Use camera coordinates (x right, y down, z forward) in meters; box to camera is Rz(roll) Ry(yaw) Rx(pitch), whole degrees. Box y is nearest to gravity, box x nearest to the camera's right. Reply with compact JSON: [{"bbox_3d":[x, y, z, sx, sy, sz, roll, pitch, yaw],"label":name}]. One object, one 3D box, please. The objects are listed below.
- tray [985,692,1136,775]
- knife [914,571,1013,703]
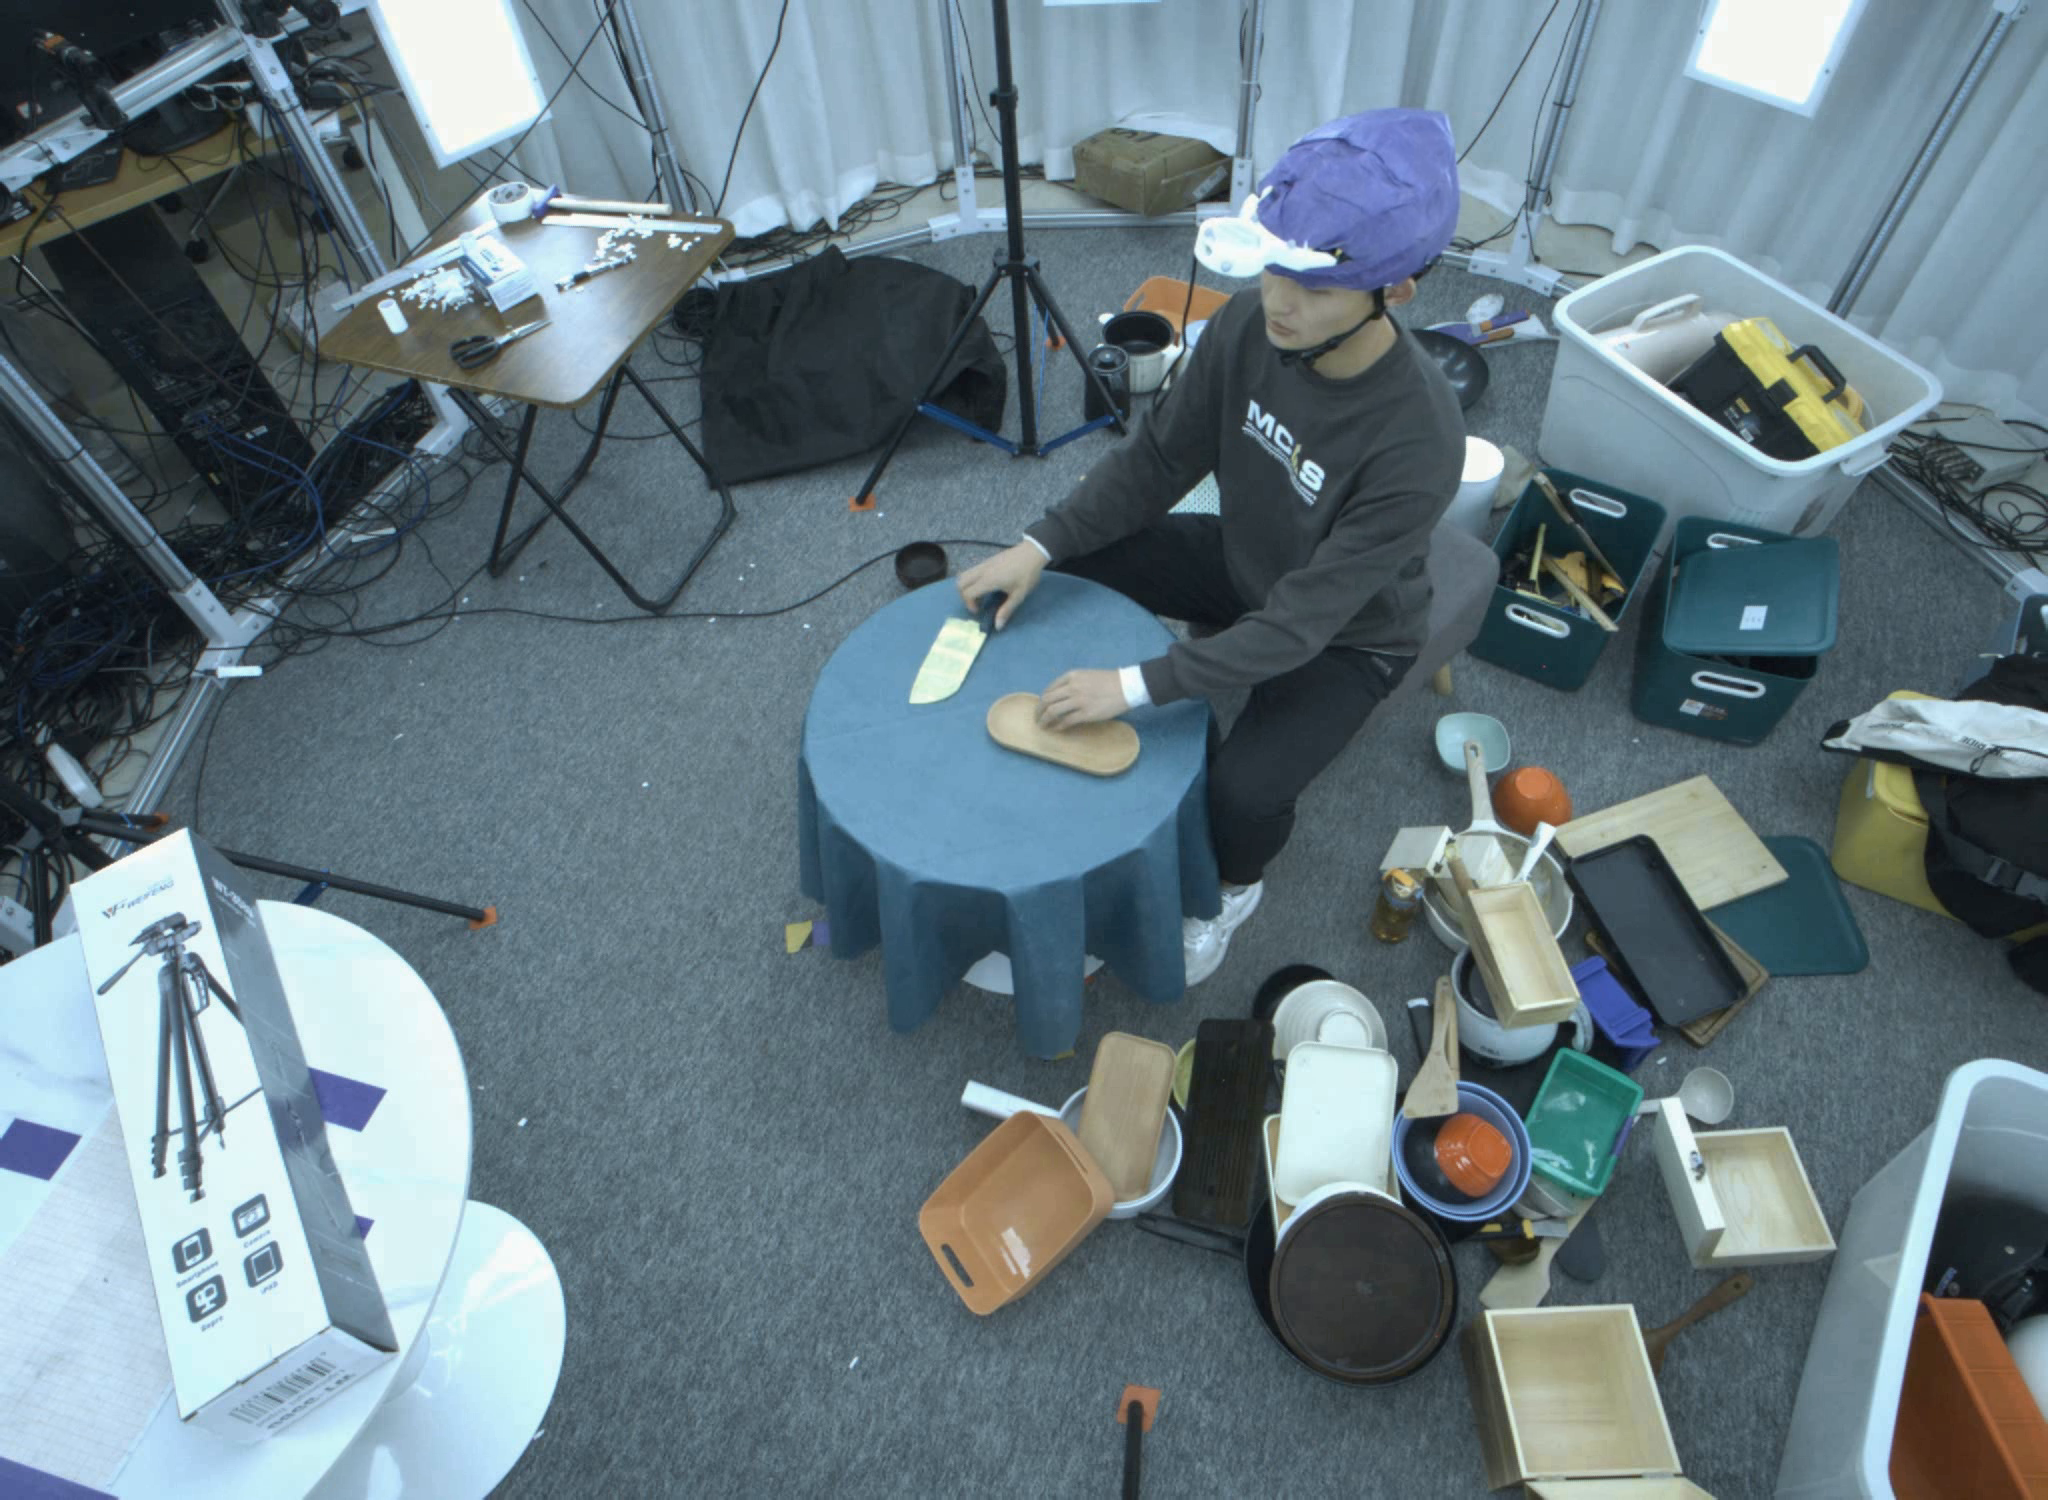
[{"bbox_3d":[0.052,-0.024,1.801,0.228,0.020,0.101,16,55,14],"label":"tray"},{"bbox_3d":[-0.093,-0.180,1.917,0.080,0.027,0.289,21,58,13],"label":"knife"}]
